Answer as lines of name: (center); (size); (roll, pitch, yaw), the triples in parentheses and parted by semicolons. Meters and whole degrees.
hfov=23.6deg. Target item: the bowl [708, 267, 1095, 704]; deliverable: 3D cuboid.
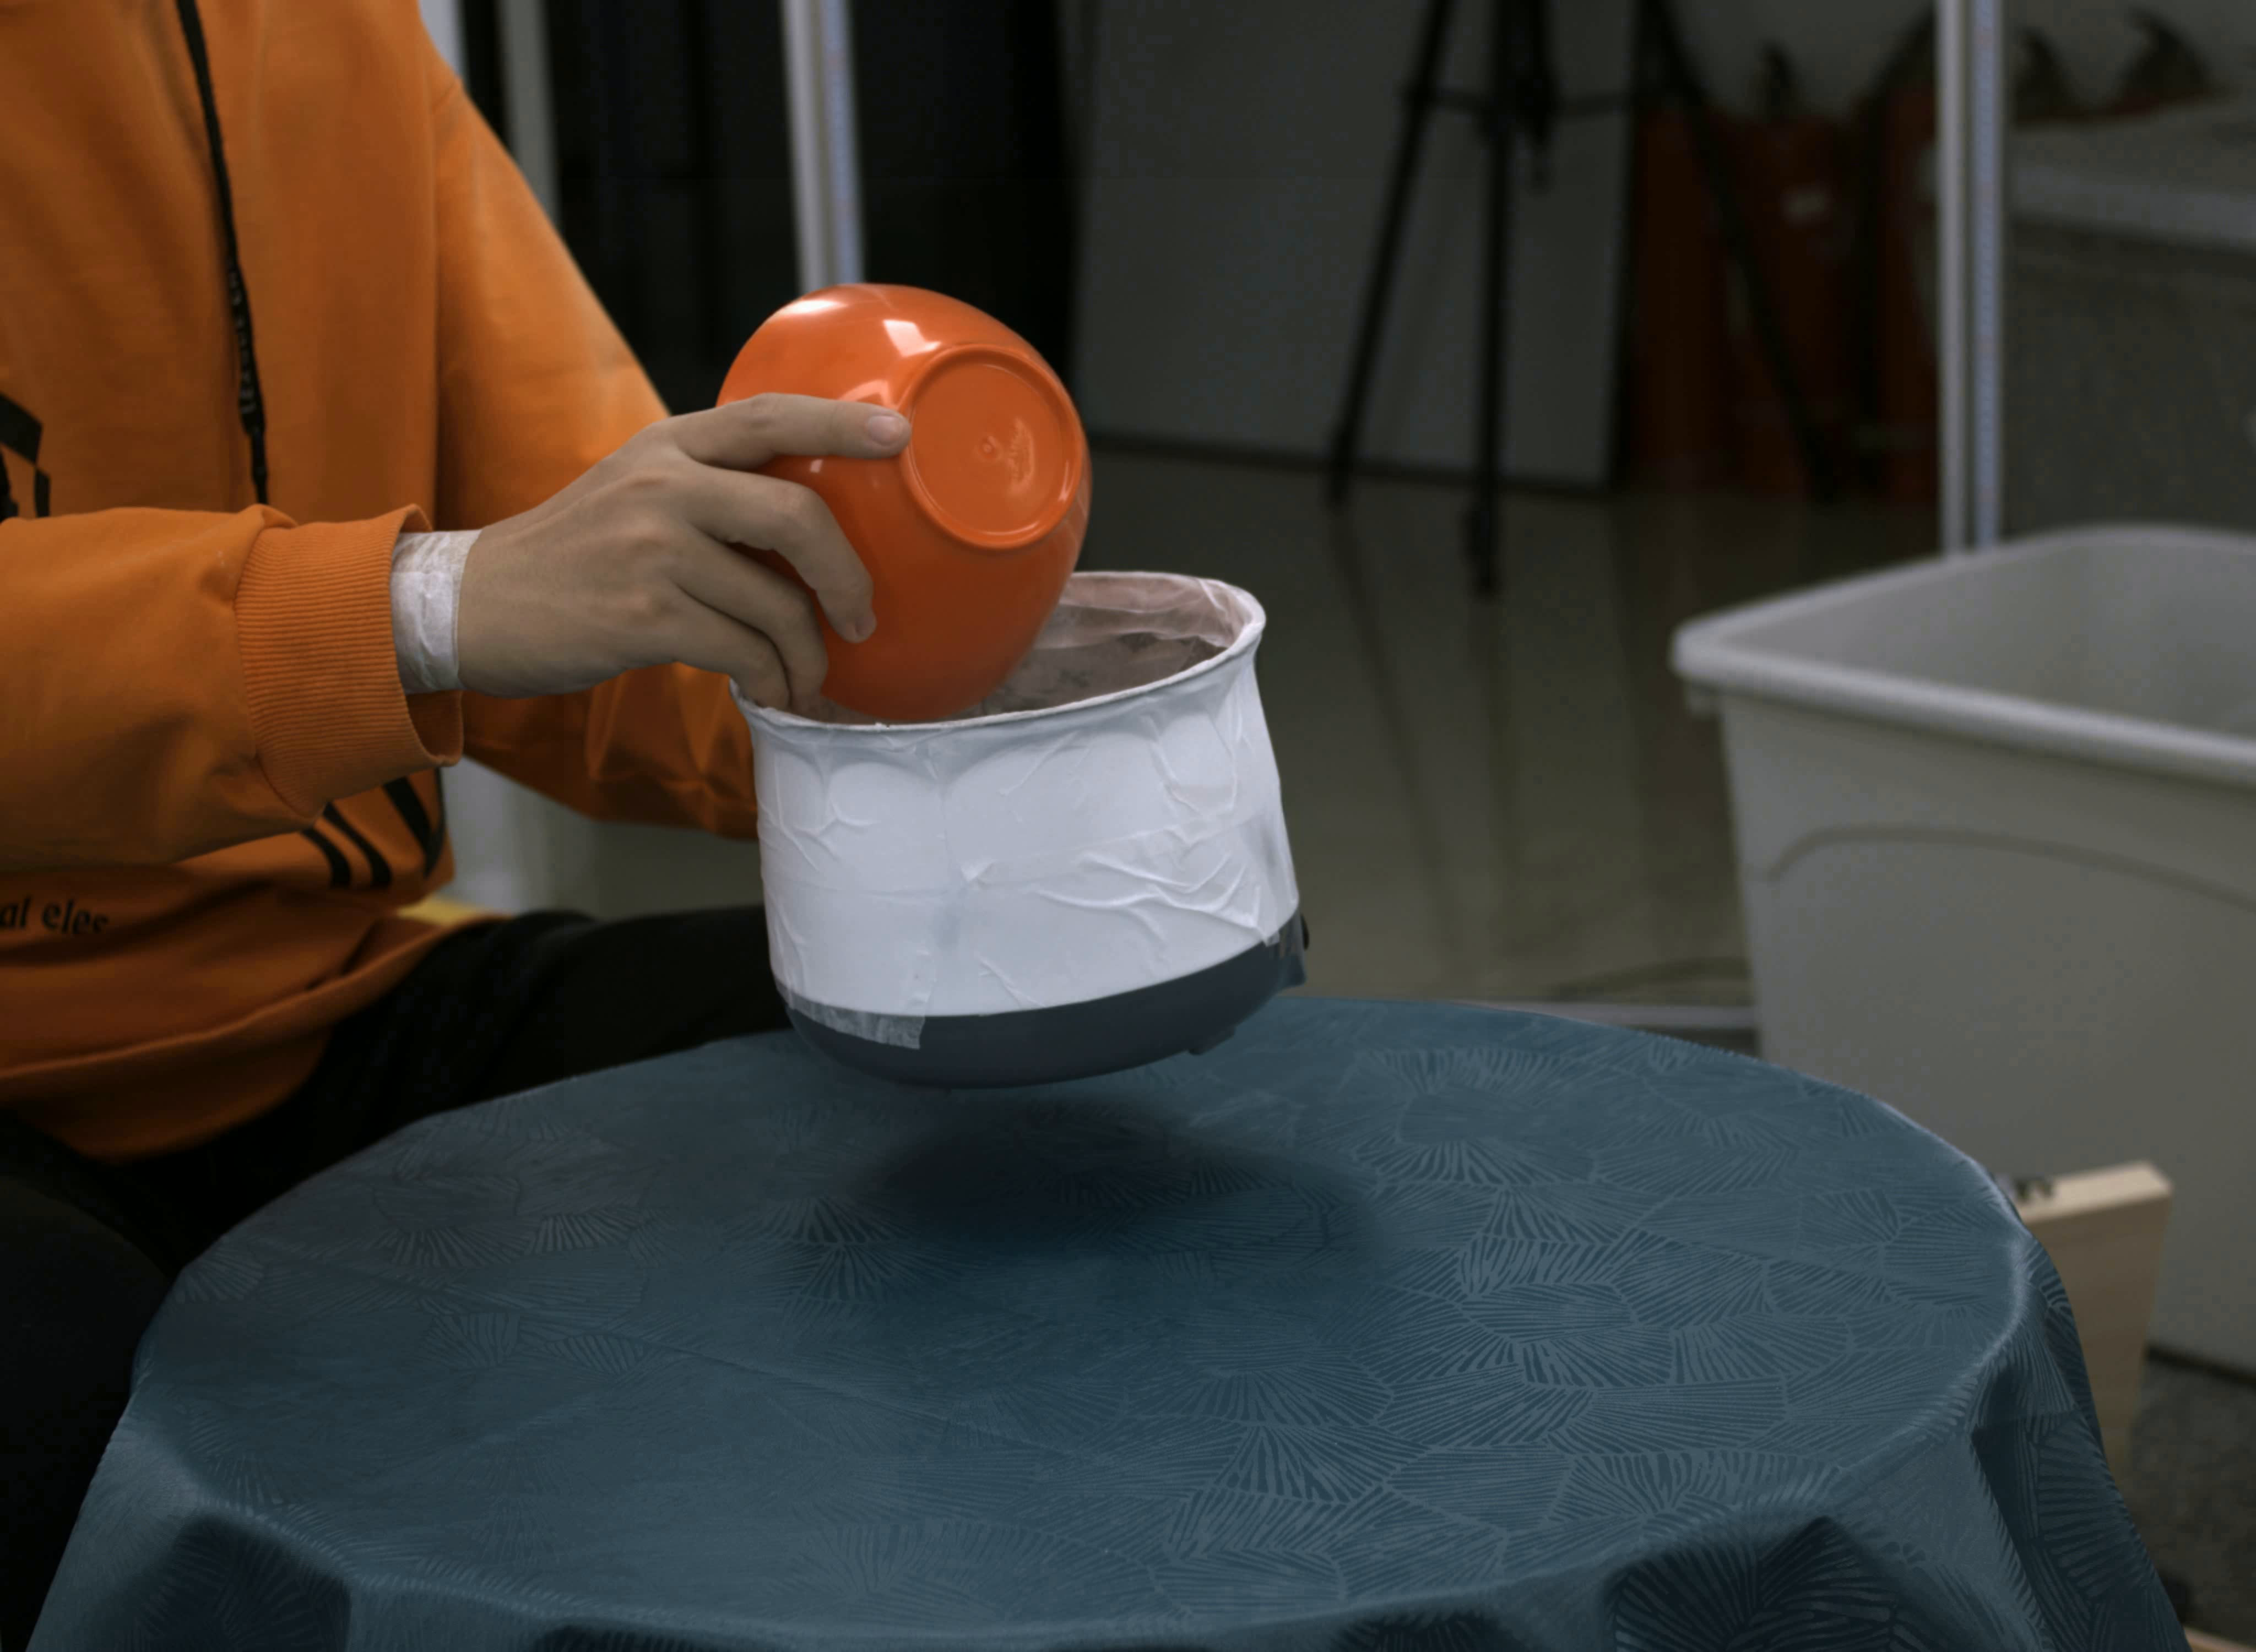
bowl: (-0.057, -0.116, 1.742); (0.145, 0.150, 0.105); (-12, -3, -31)

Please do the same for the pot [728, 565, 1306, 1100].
pot: (-0.039, -0.006, 1.788); (0.176, 0.138, 0.235); (-10, 16, -7)
